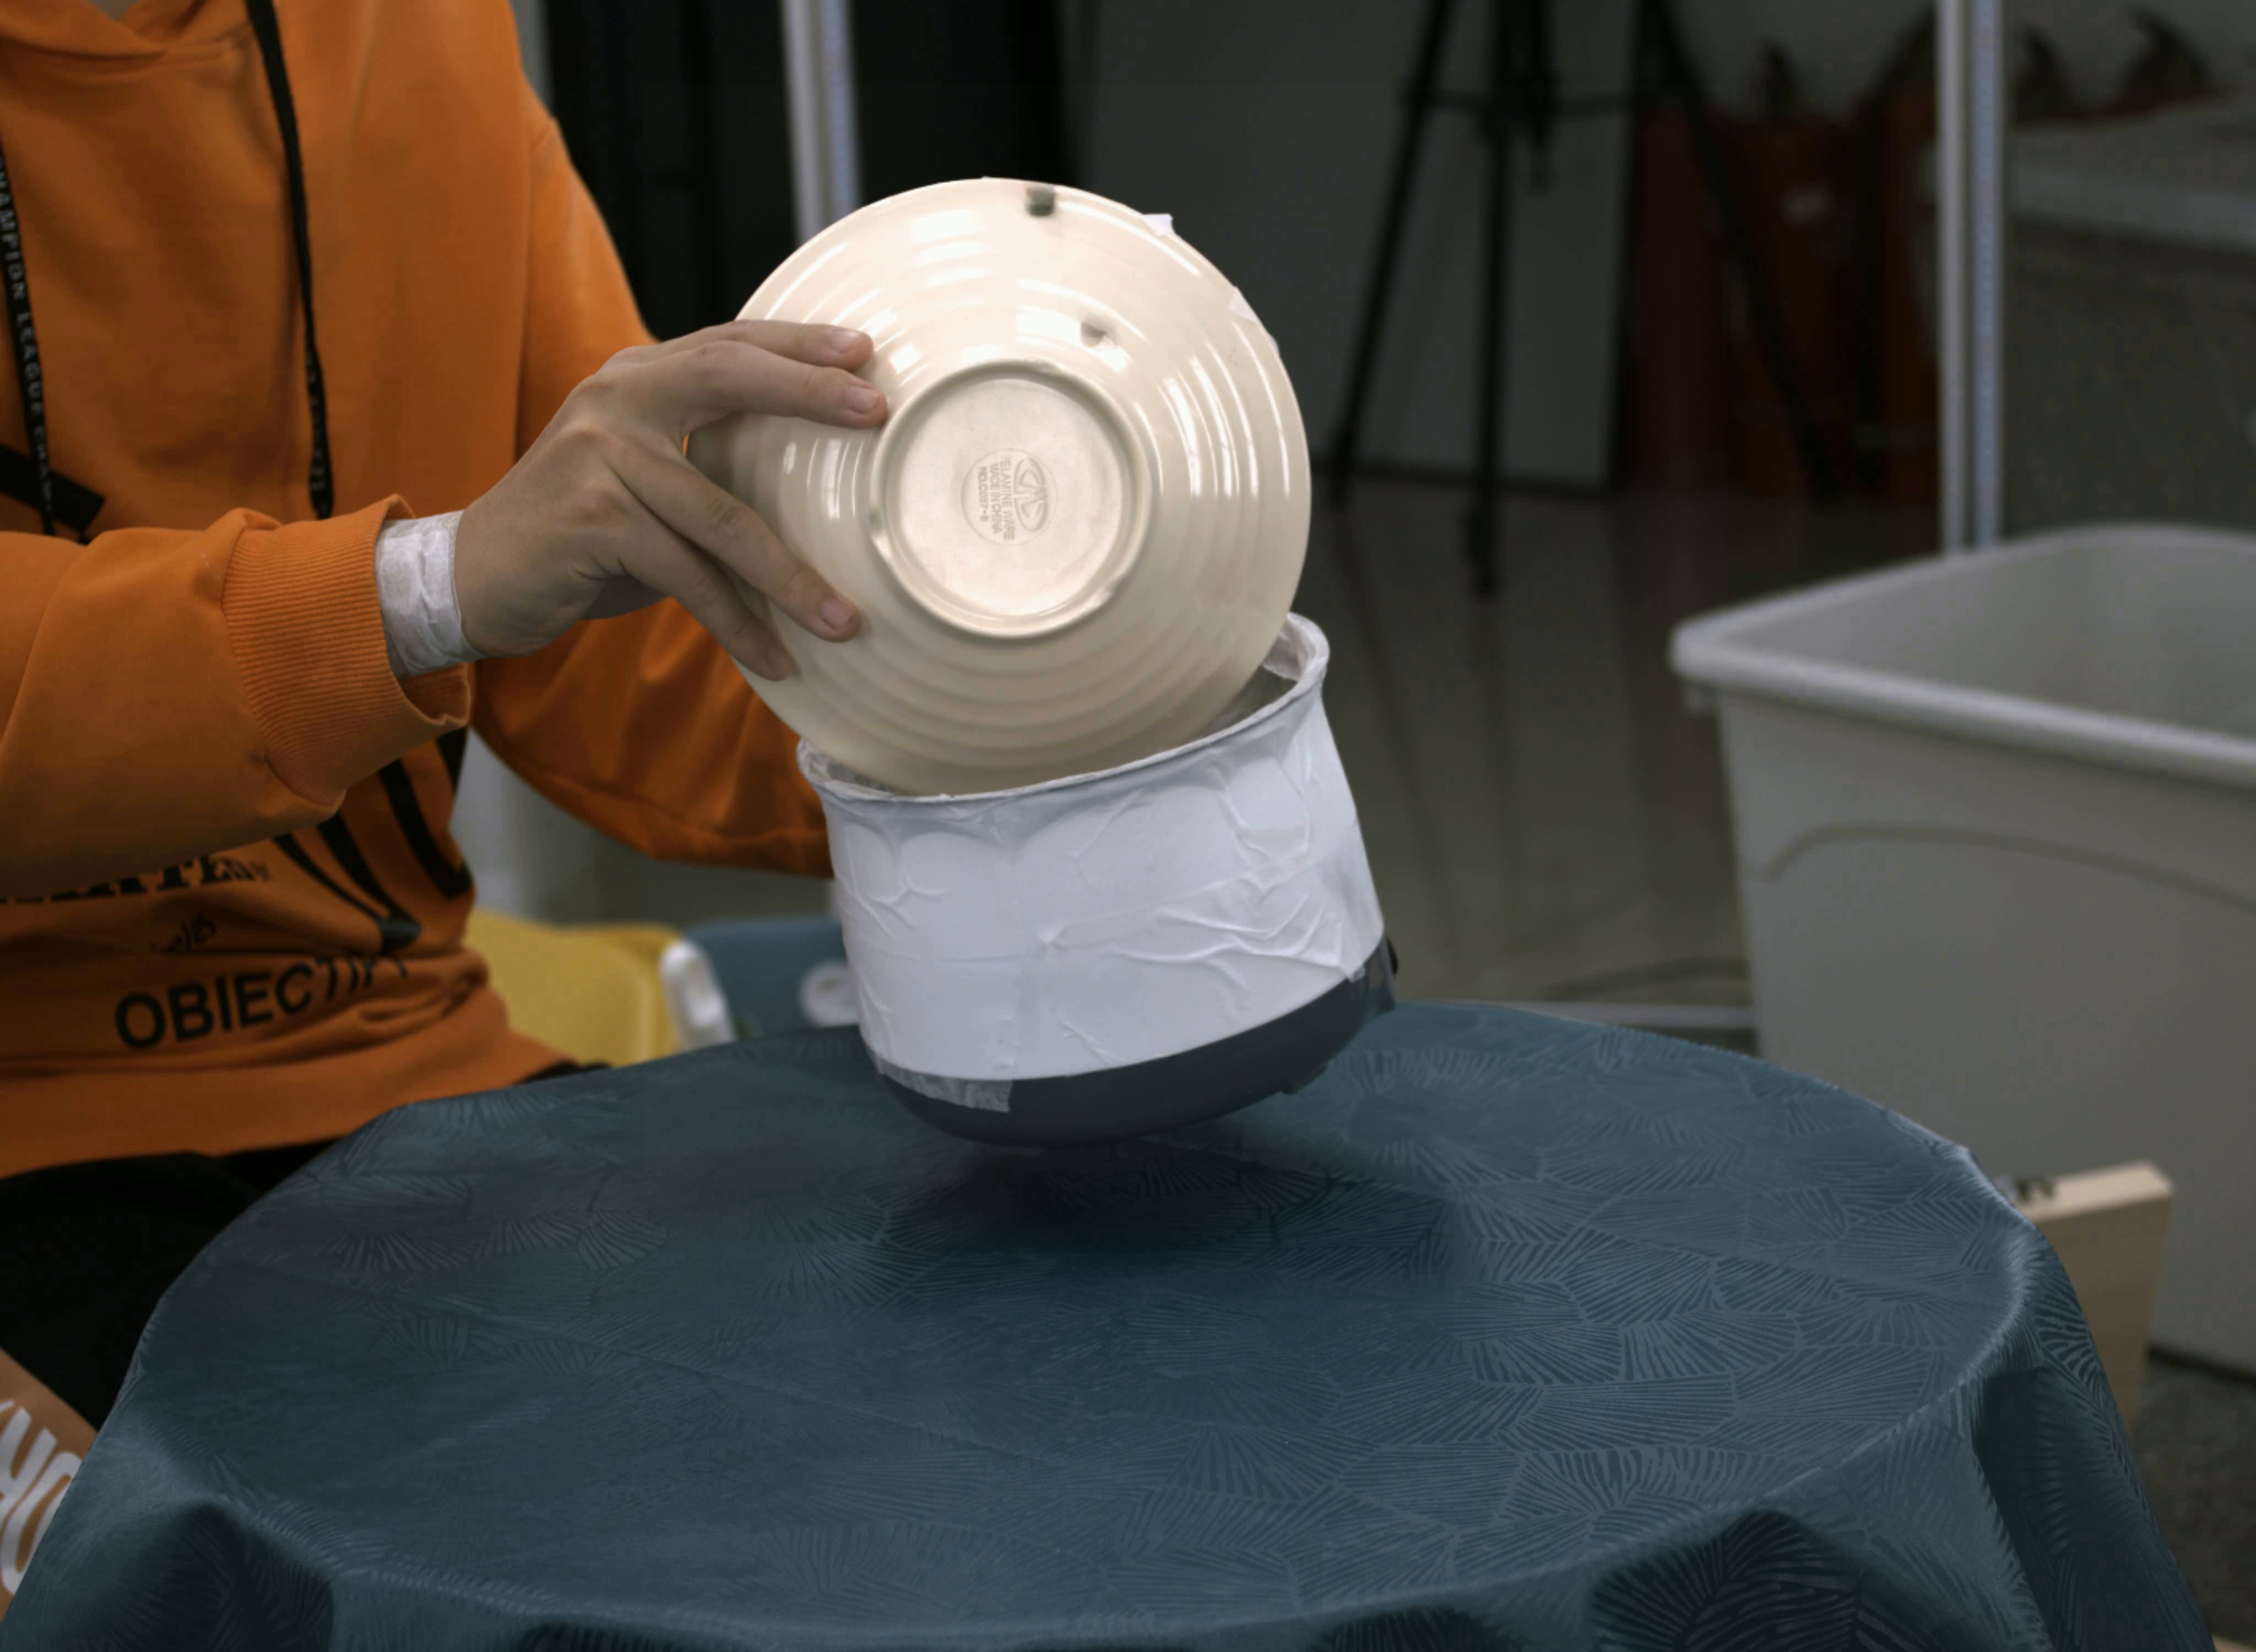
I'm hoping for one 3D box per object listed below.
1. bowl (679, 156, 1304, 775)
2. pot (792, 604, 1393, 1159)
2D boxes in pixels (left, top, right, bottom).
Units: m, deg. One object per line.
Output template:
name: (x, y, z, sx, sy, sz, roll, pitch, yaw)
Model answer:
bowl: (-0.039, -0.109, 1.691, 0.201, 0.206, 0.078, -5, 2, -5)
pot: (-0.014, 0.008, 1.774, 0.176, 0.137, 0.235, -14, 18, -5)
